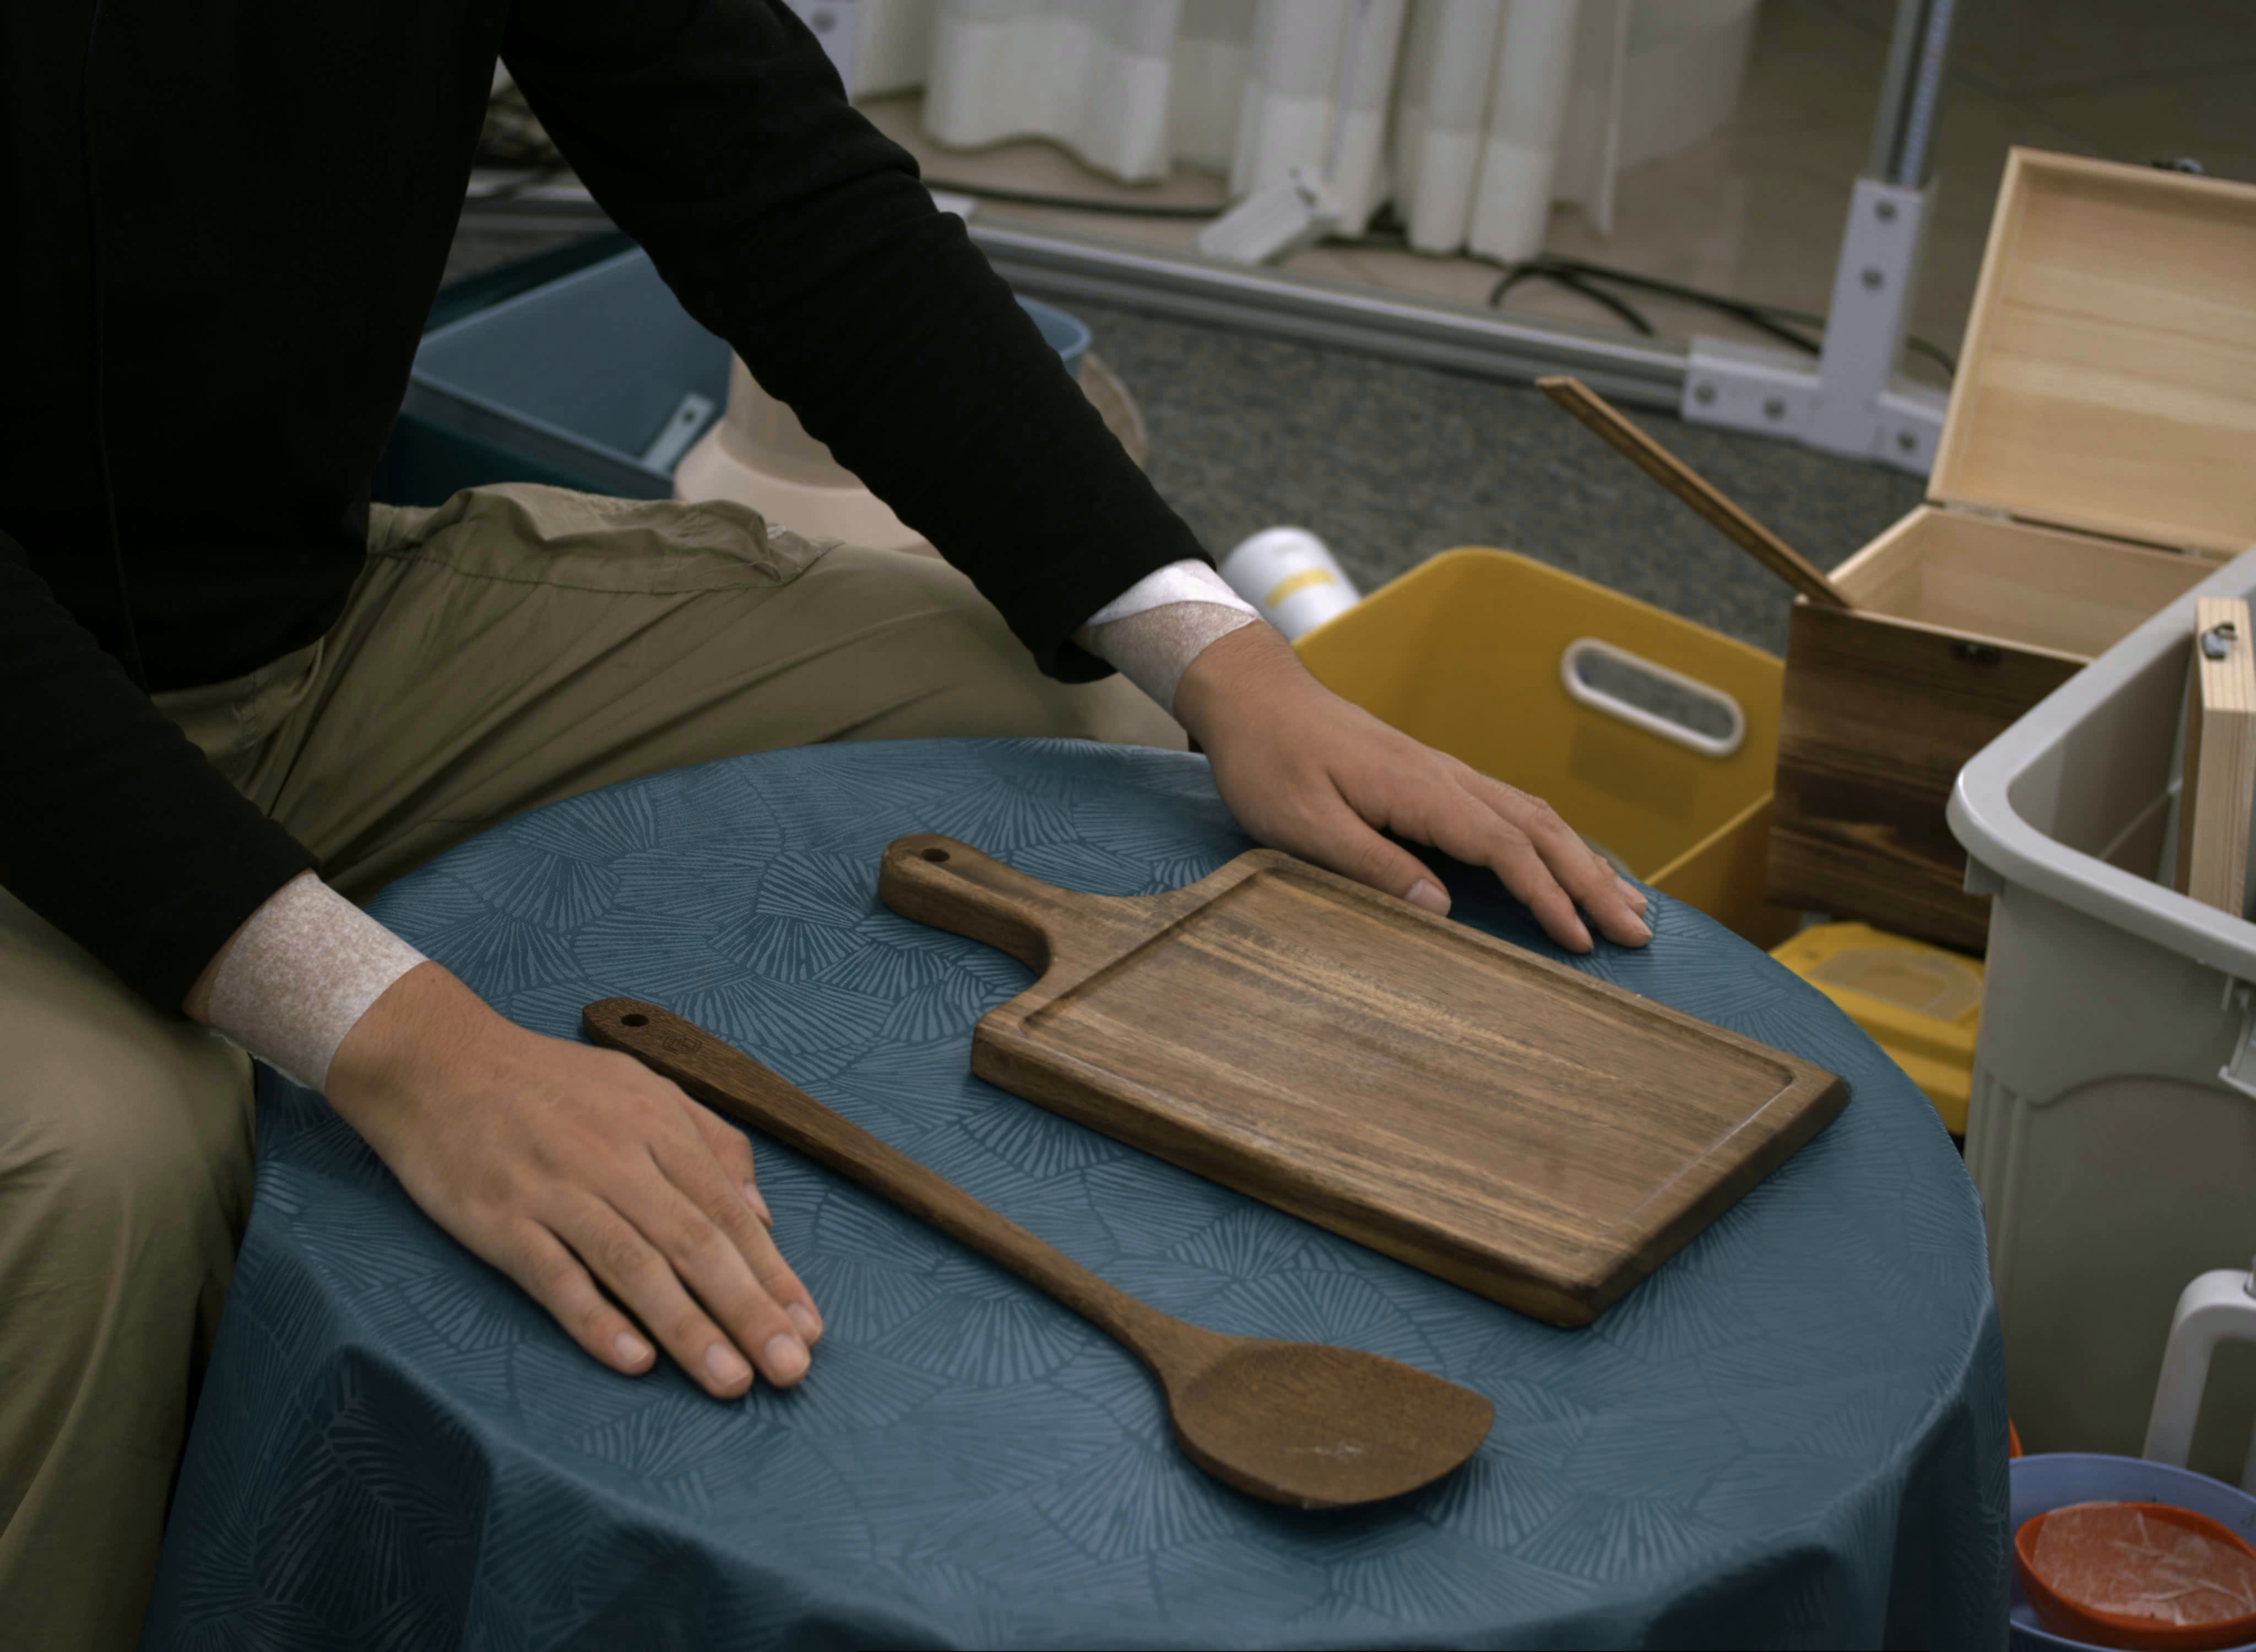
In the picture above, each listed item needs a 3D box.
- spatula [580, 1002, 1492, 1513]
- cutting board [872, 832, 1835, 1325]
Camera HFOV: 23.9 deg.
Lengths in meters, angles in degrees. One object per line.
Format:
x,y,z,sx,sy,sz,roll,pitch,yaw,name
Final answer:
-0.047,0.134,1.755,0.389,0.016,0.095,27,33,35,spatula
0.057,0.070,1.896,0.354,0.023,0.200,21,30,27,cutting board
